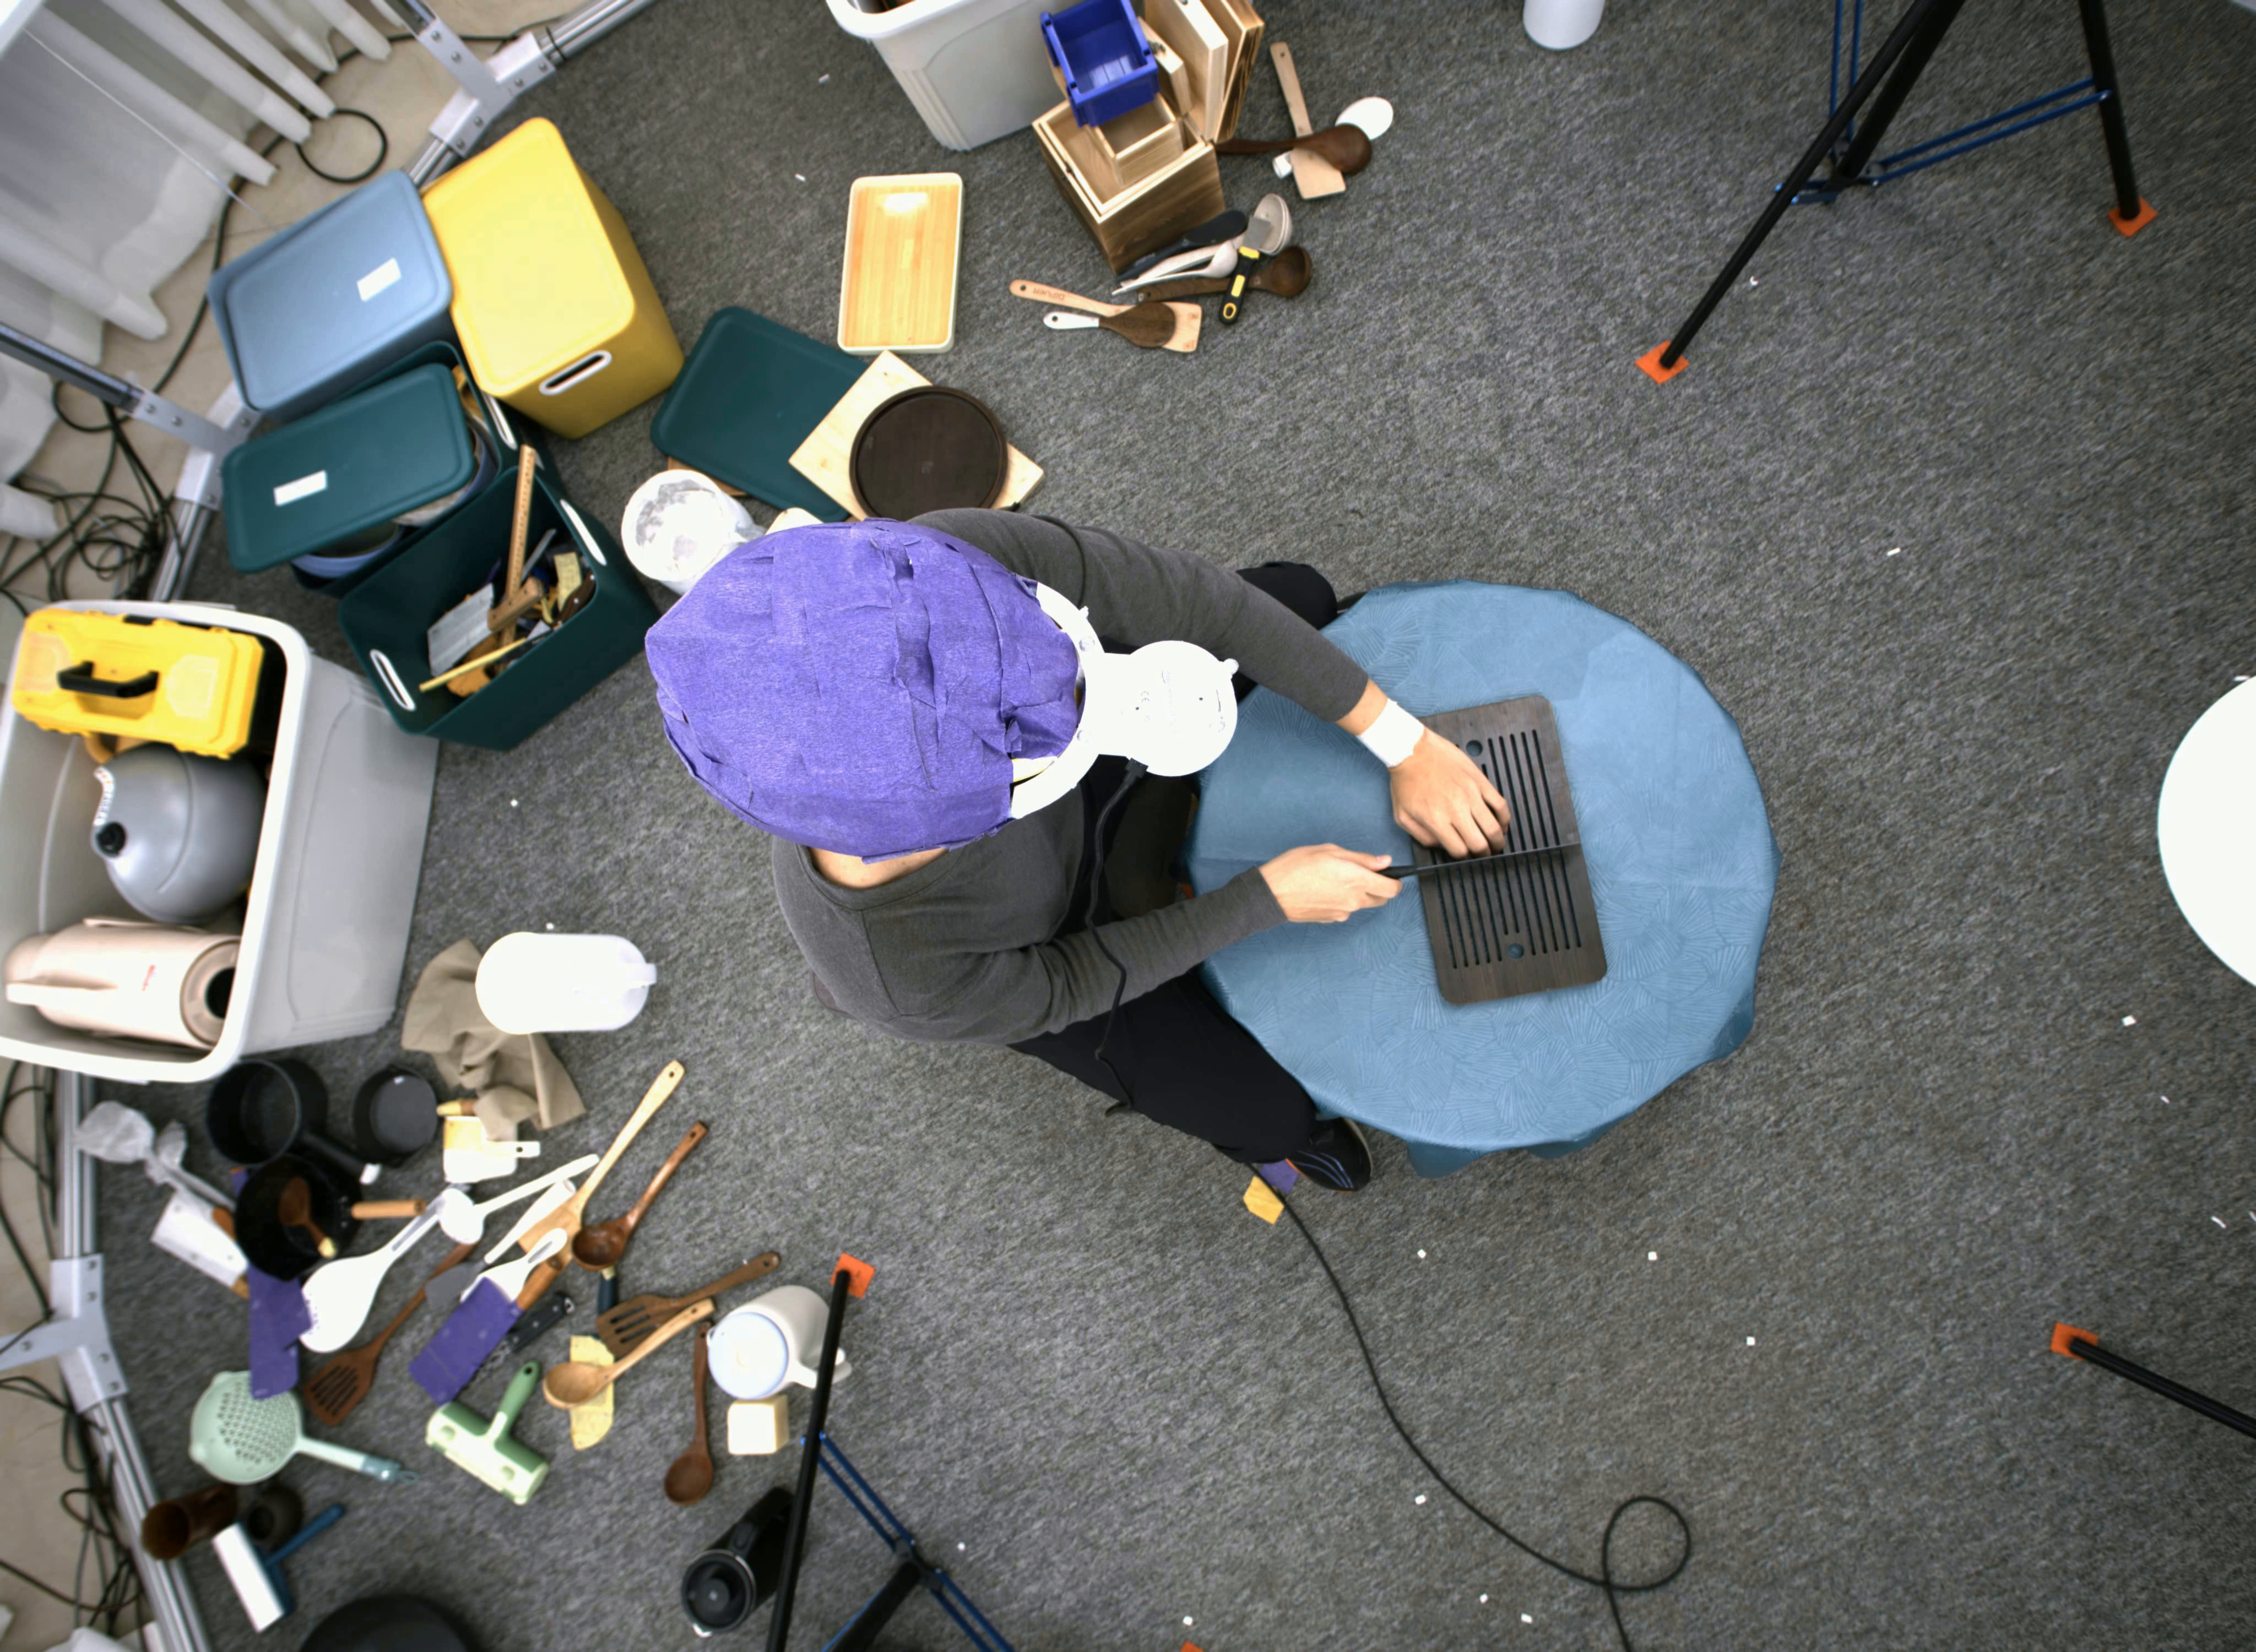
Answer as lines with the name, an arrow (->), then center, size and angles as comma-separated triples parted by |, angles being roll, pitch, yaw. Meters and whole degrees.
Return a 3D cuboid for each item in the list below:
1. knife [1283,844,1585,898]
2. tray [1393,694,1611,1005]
knife -> 0.308, 0.041, 1.396 | 0.303, 0.081, 0.020 | -8, 80, 4
tray -> 0.387, 0.022, 1.431 | 0.171, 0.018, 0.304 | -11, 84, 11
